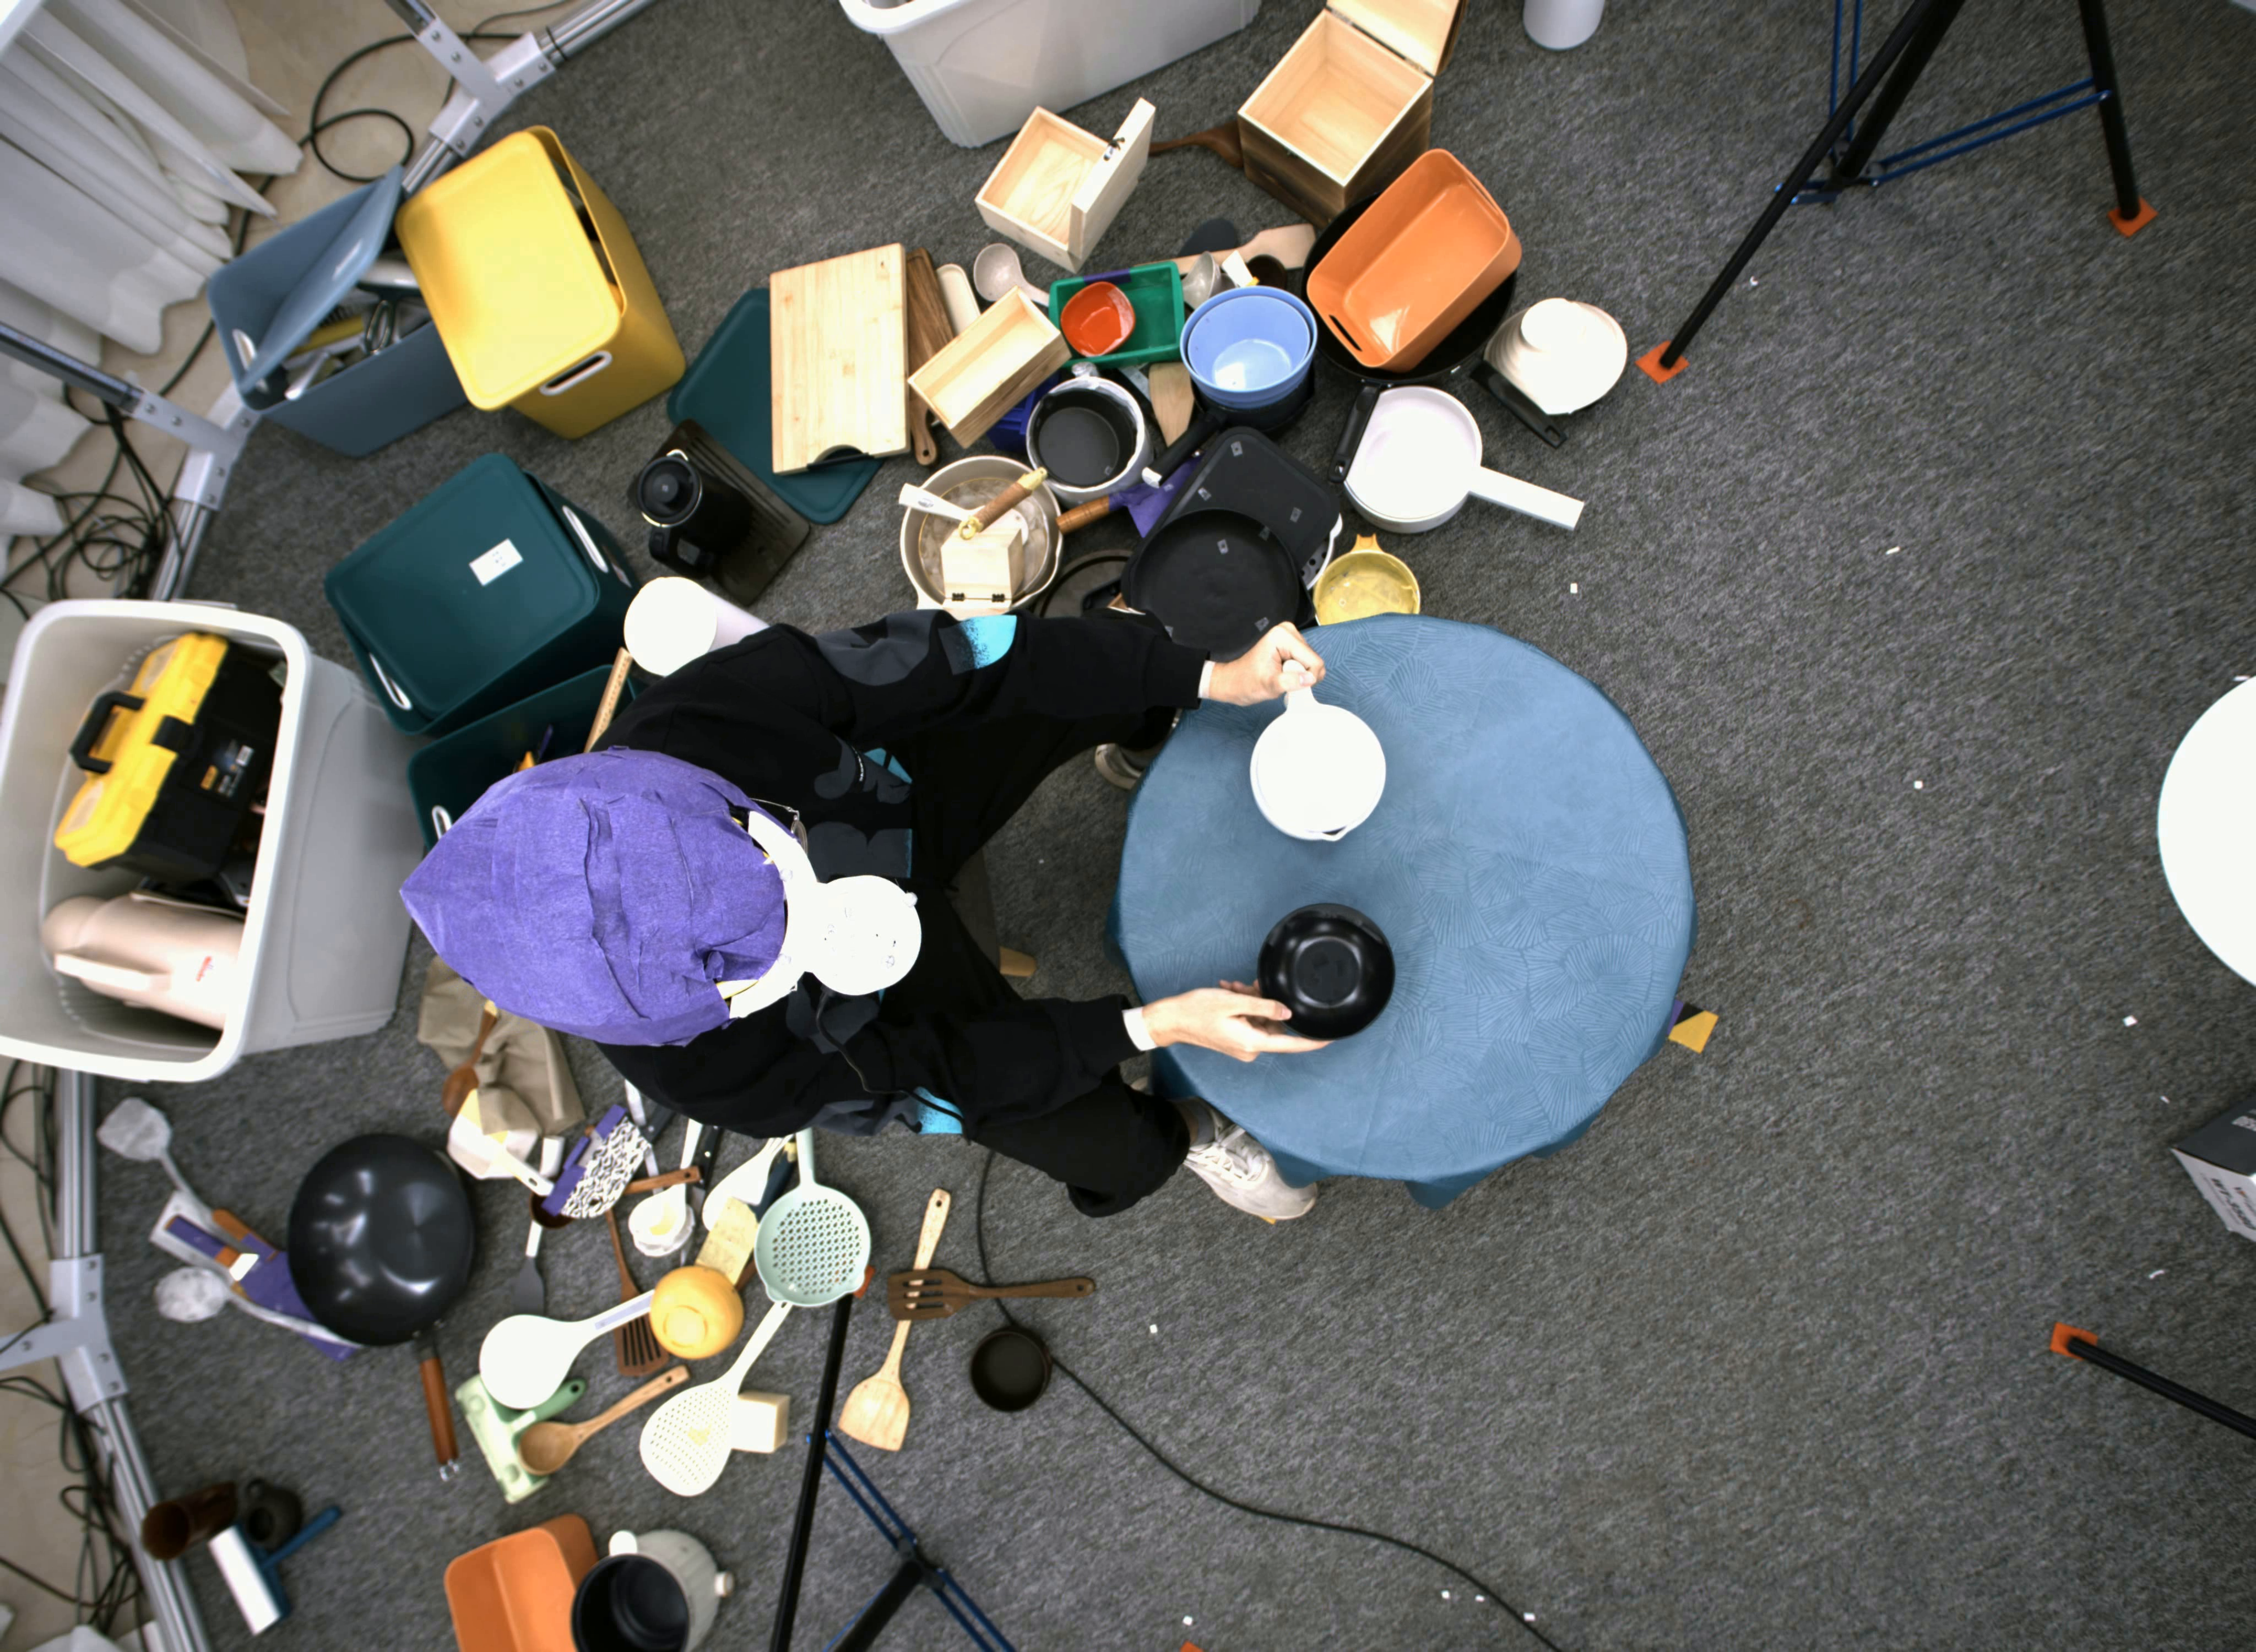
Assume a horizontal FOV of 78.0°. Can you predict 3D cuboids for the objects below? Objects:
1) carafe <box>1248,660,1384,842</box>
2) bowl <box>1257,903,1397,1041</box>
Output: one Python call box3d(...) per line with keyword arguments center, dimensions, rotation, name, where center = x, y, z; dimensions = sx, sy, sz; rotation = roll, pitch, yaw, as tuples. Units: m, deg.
box3d(center=(0.179, -0.075, 1.375), dimensions=(0.133, 0.182, 0.190), rotation=(-15, 87, 5), name="carafe")
box3d(center=(0.202, 0.146, 1.408), dimensions=(0.140, 0.049, 0.139), rotation=(0, 89, 11), name="bowl")
